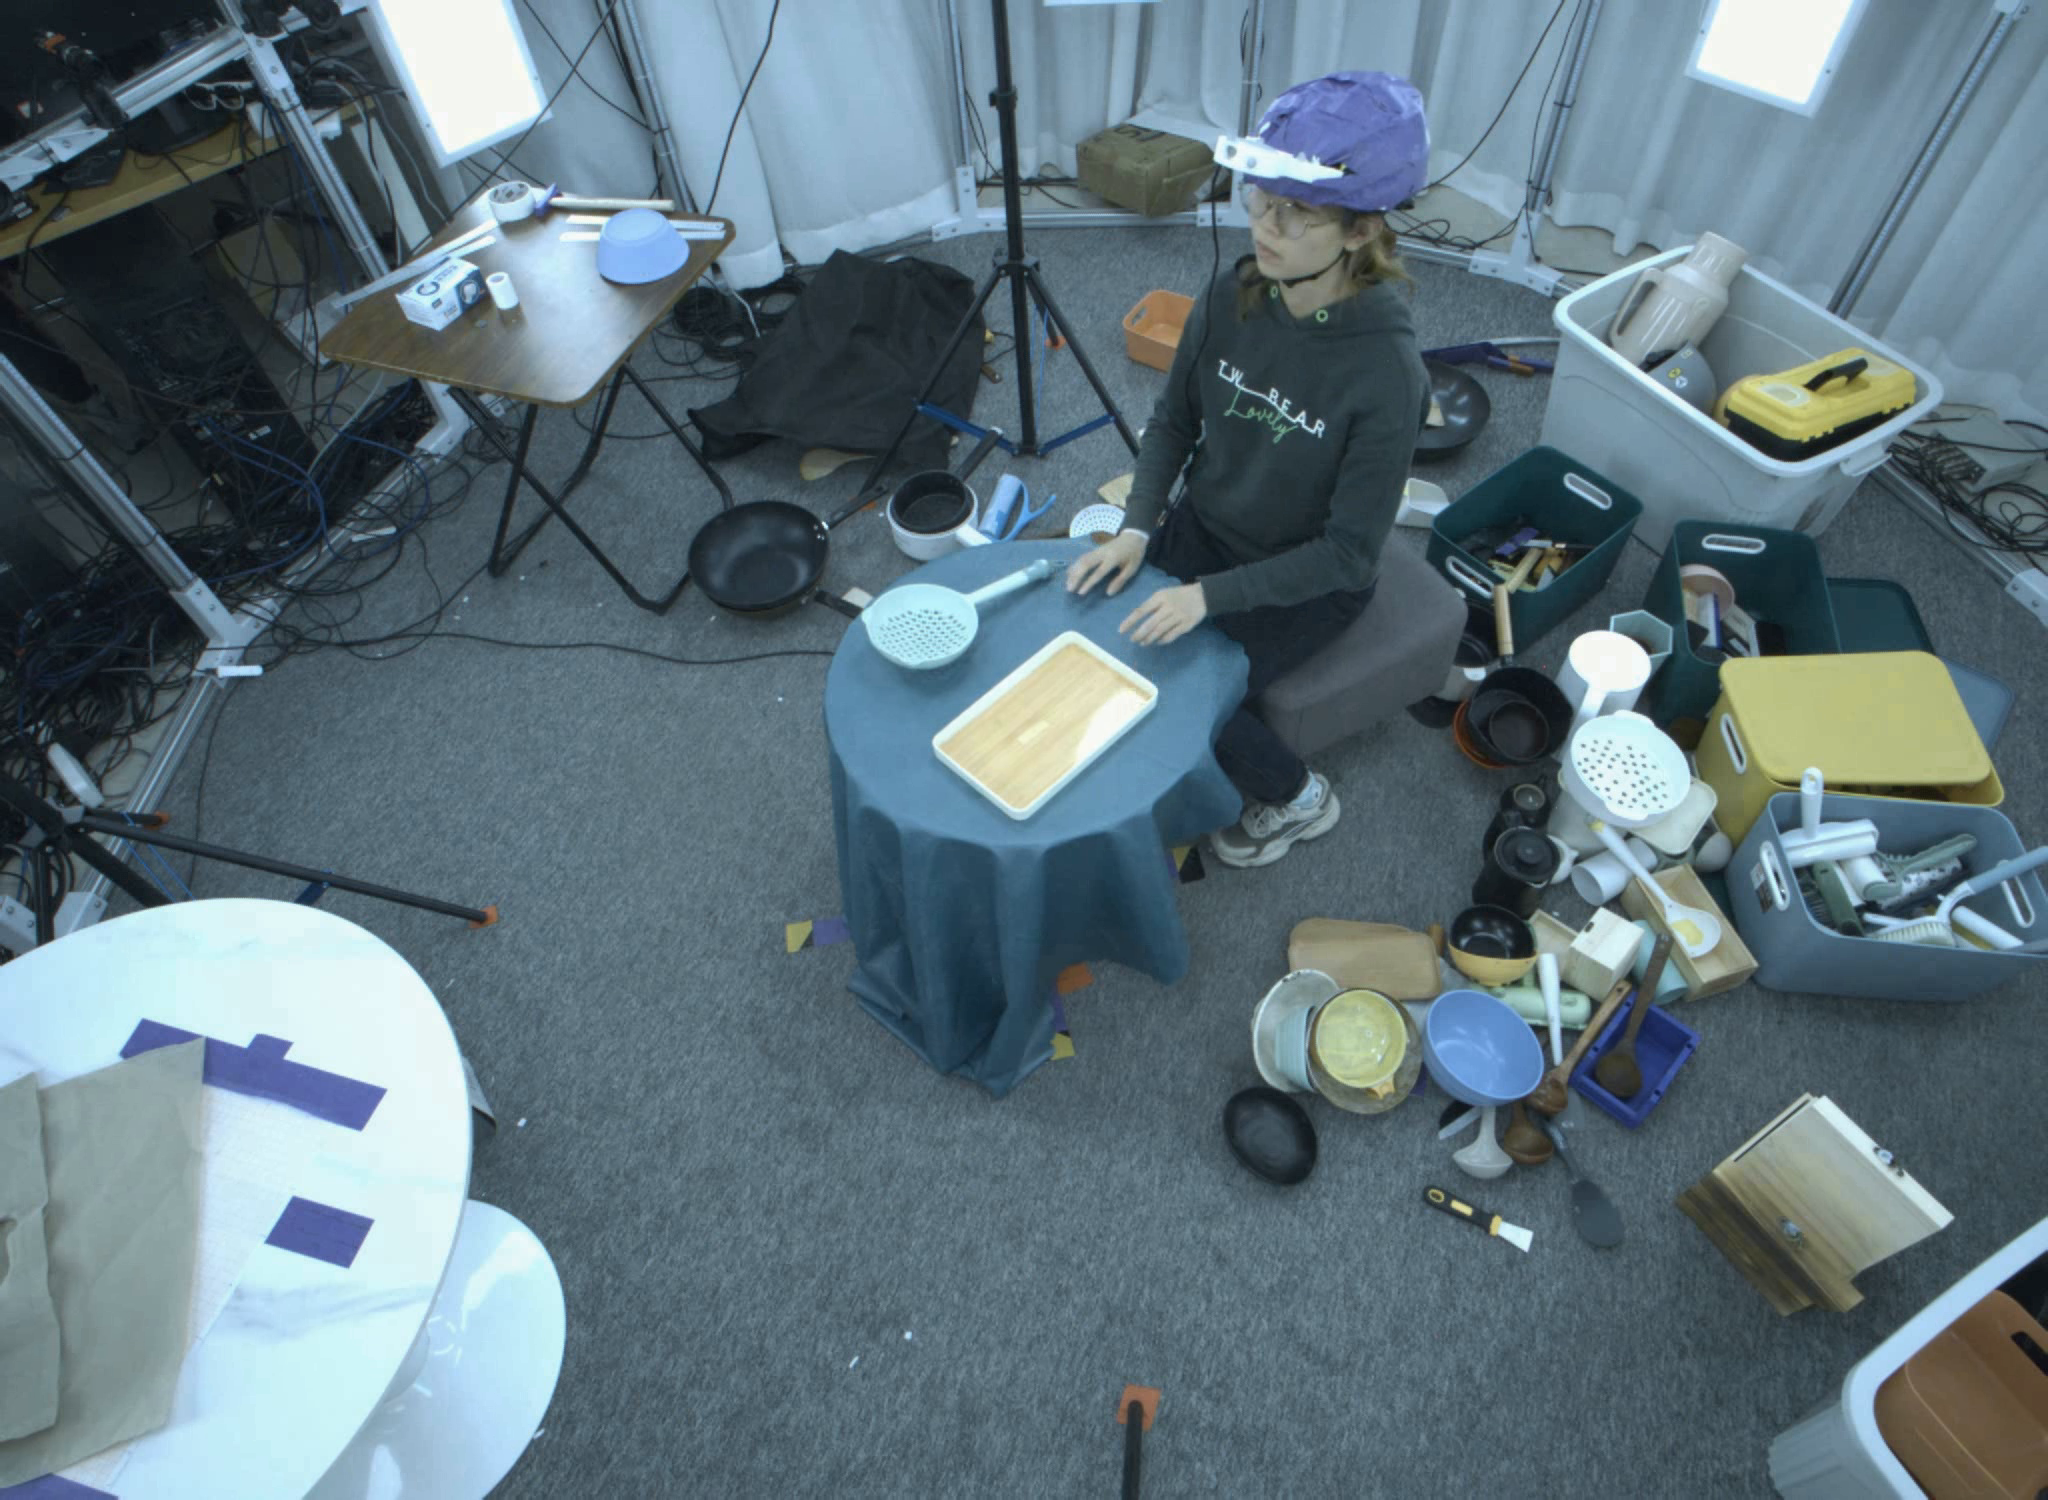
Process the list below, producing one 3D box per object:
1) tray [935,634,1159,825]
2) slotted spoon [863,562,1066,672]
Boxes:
[{"bbox_3d":[0.036,-0.036,1.806,0.188,0.028,0.302,38,65,25],"label":"tray"},{"bbox_3d":[-0.078,-0.227,1.920,0.361,0.076,0.166,-34,61,-20],"label":"slotted spoon"}]
